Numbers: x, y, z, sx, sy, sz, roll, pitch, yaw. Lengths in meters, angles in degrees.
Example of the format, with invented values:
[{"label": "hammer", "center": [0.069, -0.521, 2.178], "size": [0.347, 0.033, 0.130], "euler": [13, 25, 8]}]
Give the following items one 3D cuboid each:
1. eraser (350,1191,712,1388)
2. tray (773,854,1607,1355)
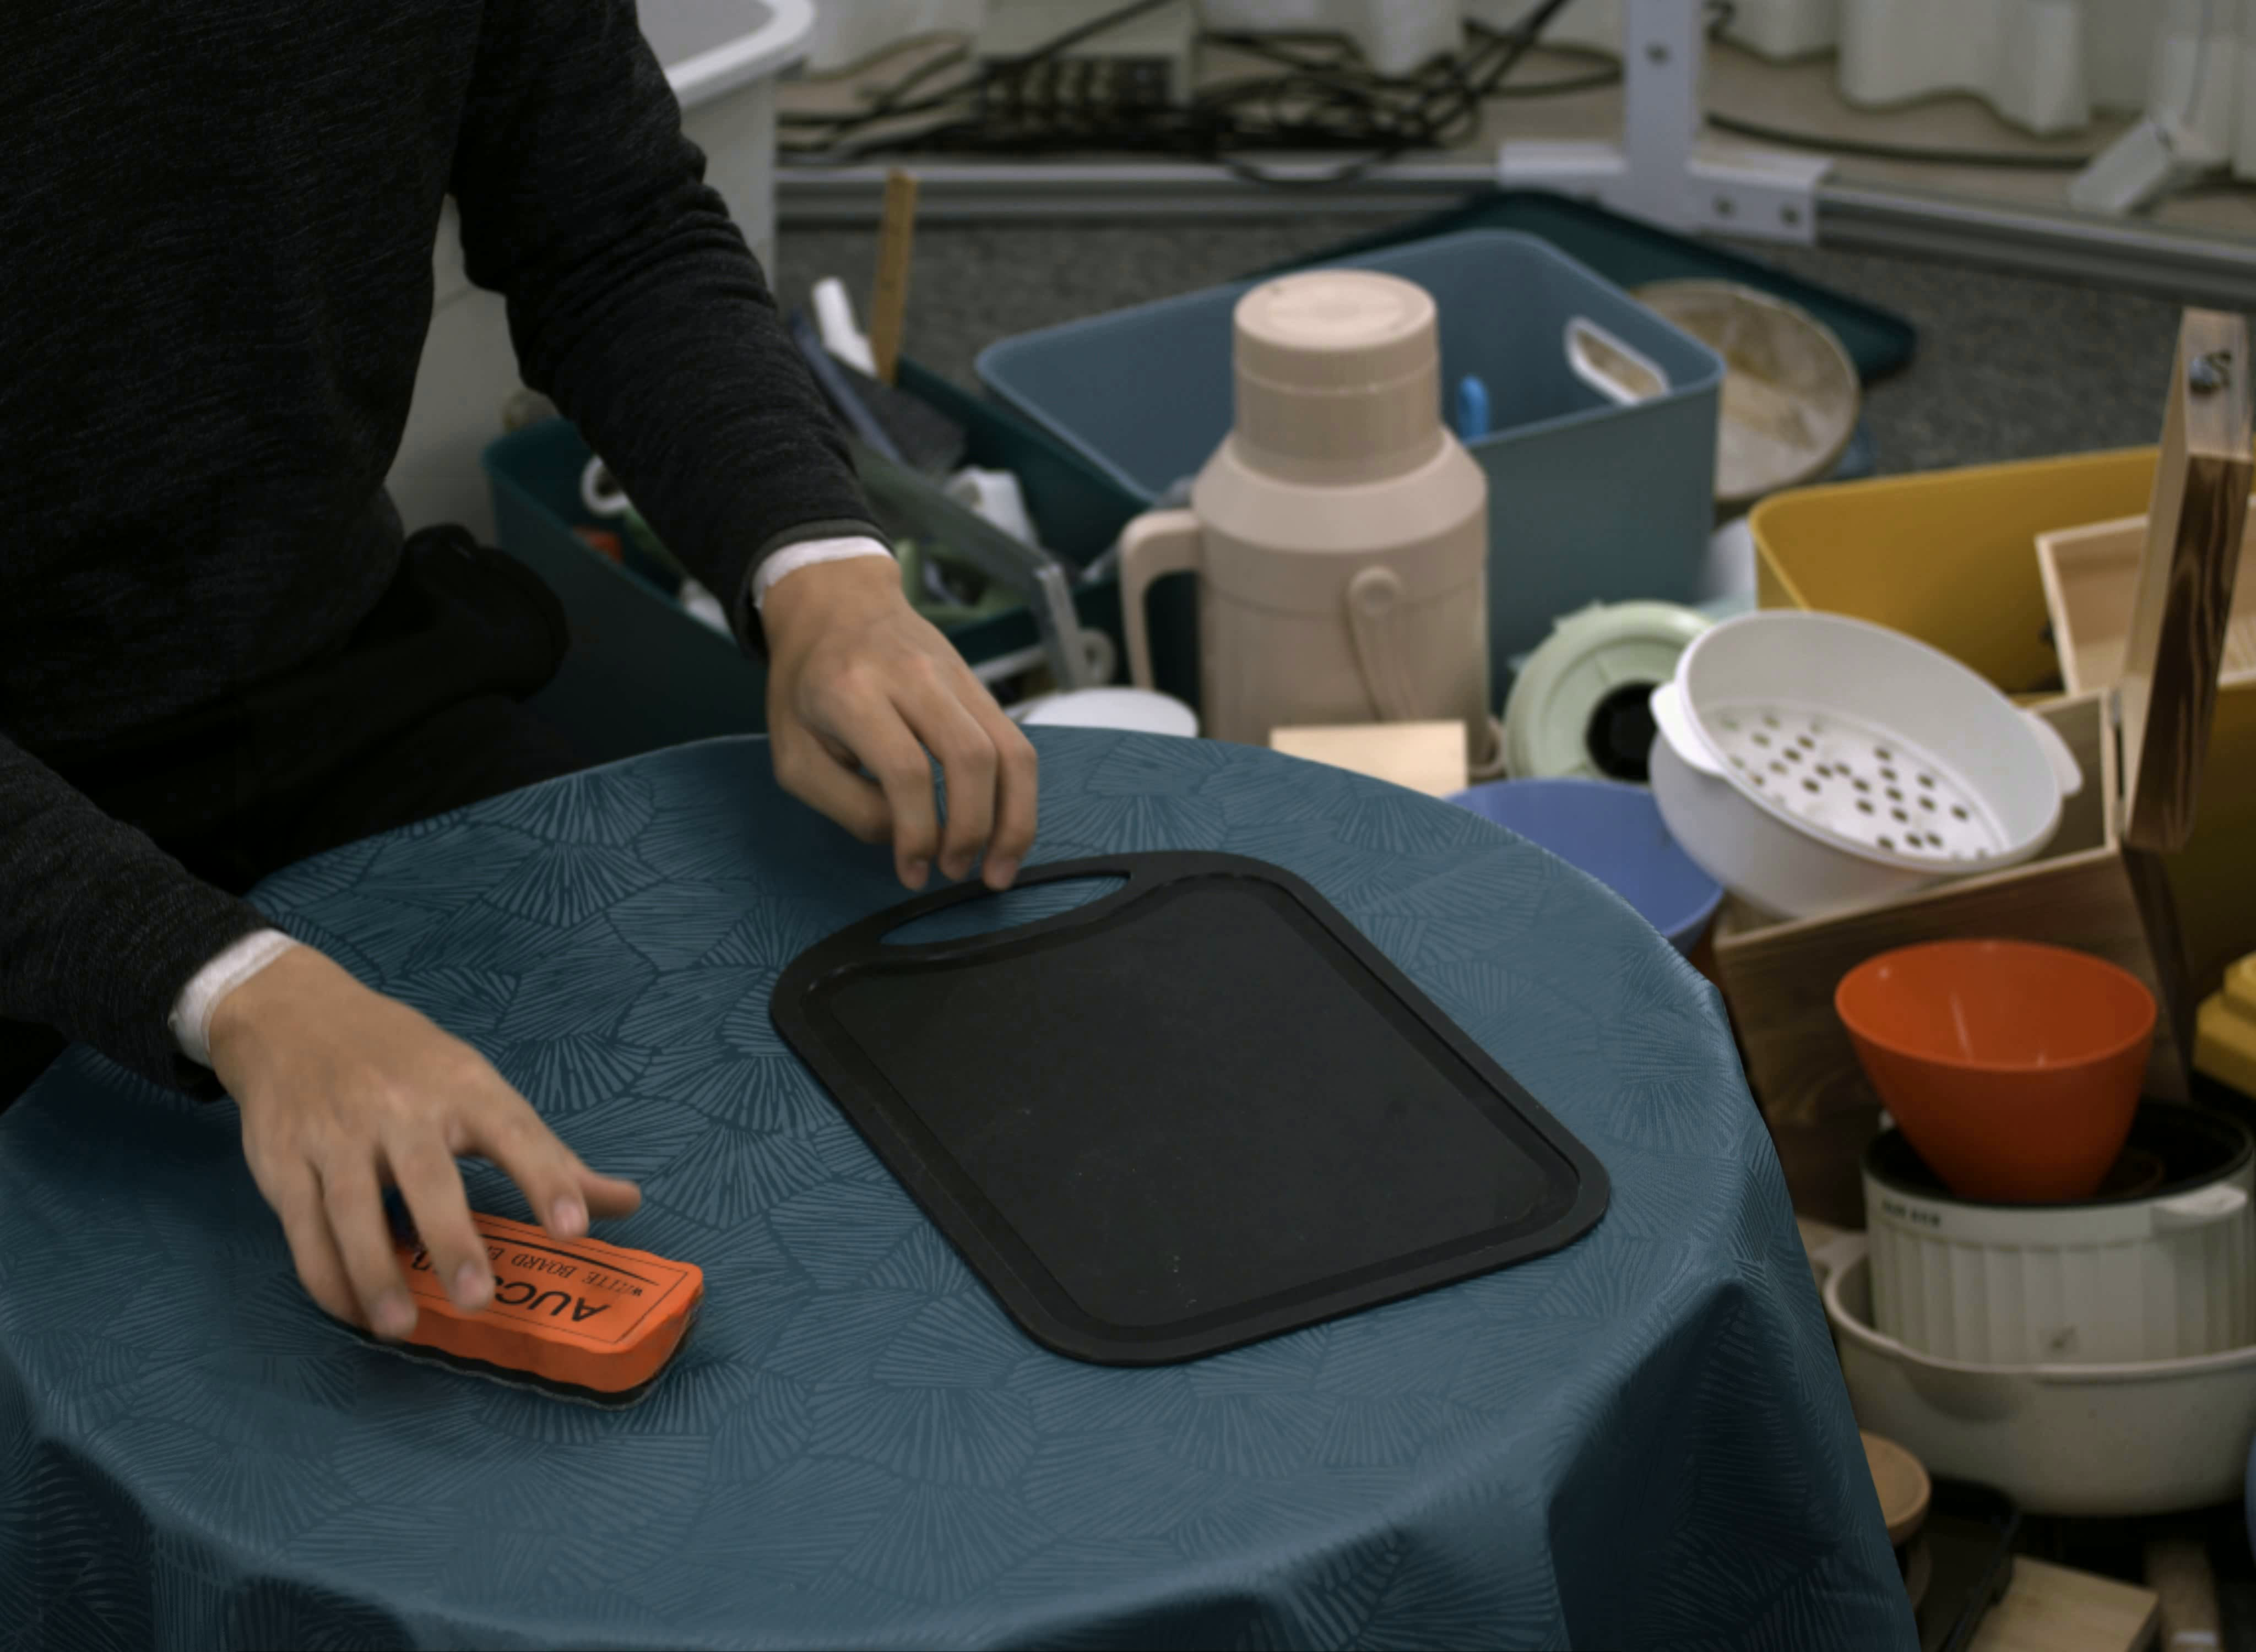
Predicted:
[{"label": "eraser", "center": [-0.190, 0.148, 1.789], "size": [0.107, 0.022, 0.060], "euler": [10, 29, 24]}, {"label": "tray", "center": [0.011, 0.085, 1.922], "size": [0.212, 0.009, 0.327], "euler": [-13, 29, -20]}]
